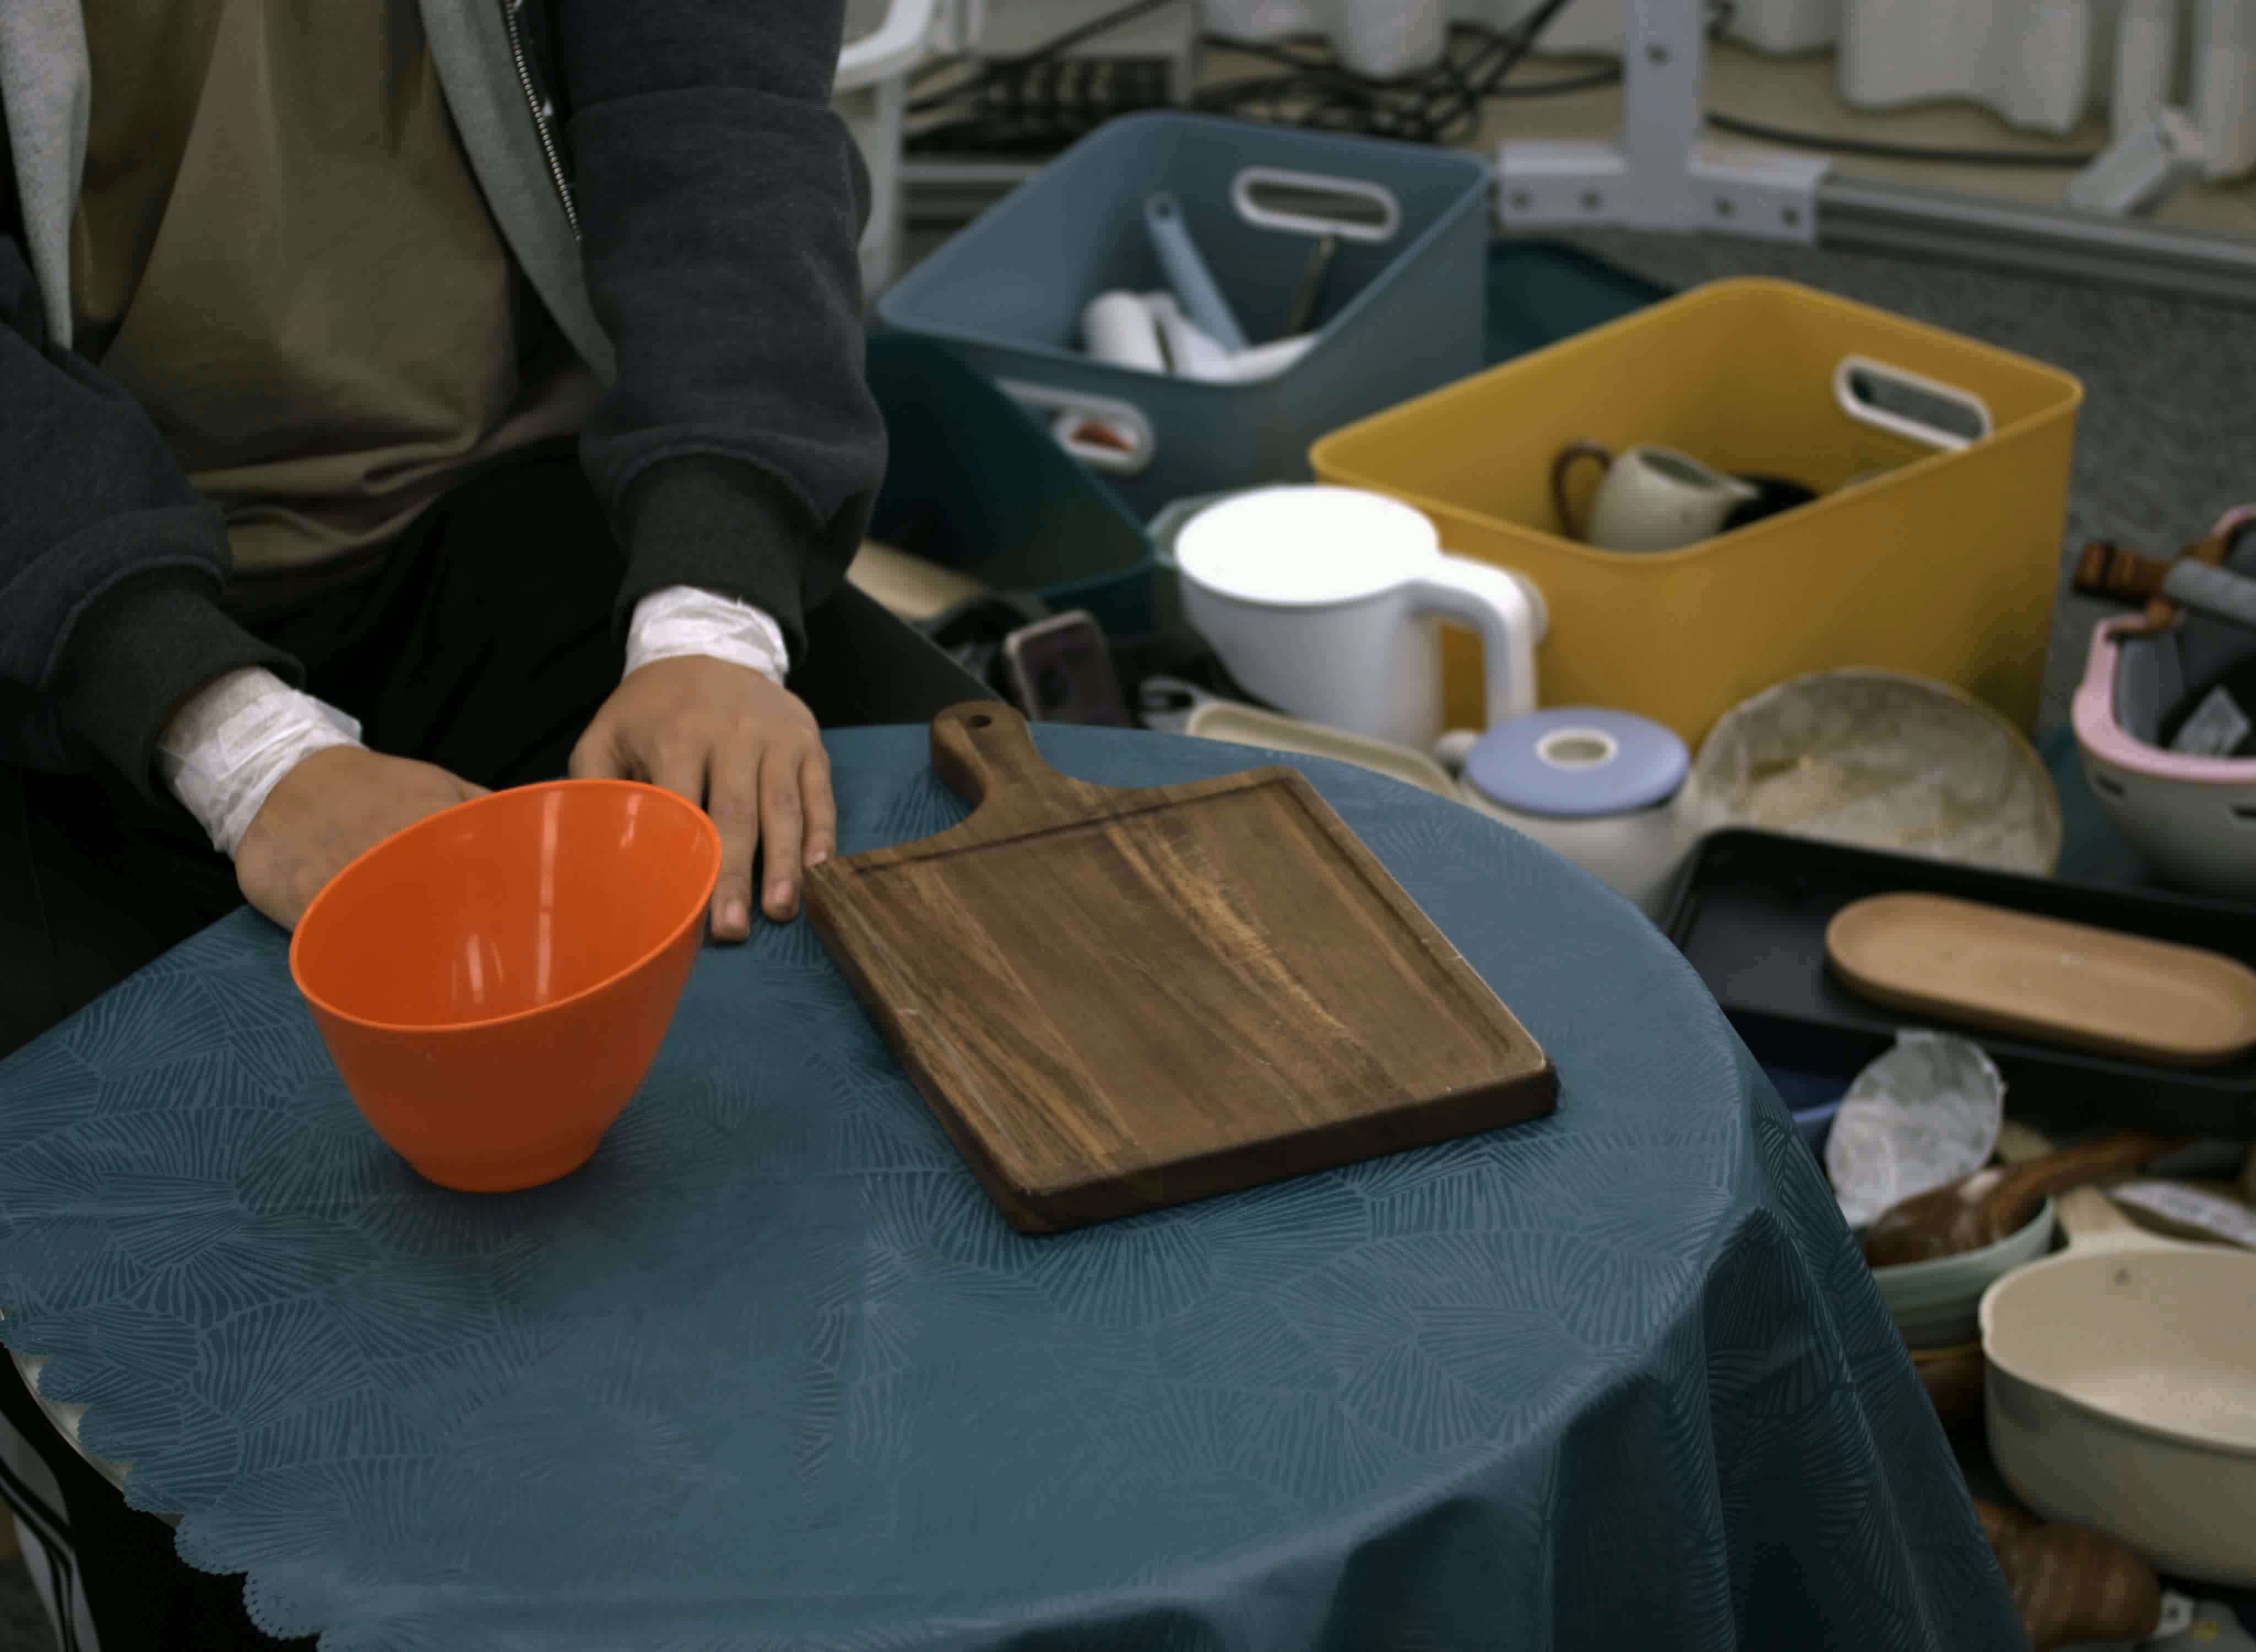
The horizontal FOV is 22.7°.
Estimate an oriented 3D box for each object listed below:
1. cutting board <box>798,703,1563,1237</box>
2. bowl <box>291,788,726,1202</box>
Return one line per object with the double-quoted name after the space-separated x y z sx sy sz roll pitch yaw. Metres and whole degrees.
-0.003 0.035 2.008 0.201 0.023 0.355 -12 28 -17 "cutting board"
-0.204 0.063 1.888 0.147 0.103 0.150 -3 27 2 "bowl"
